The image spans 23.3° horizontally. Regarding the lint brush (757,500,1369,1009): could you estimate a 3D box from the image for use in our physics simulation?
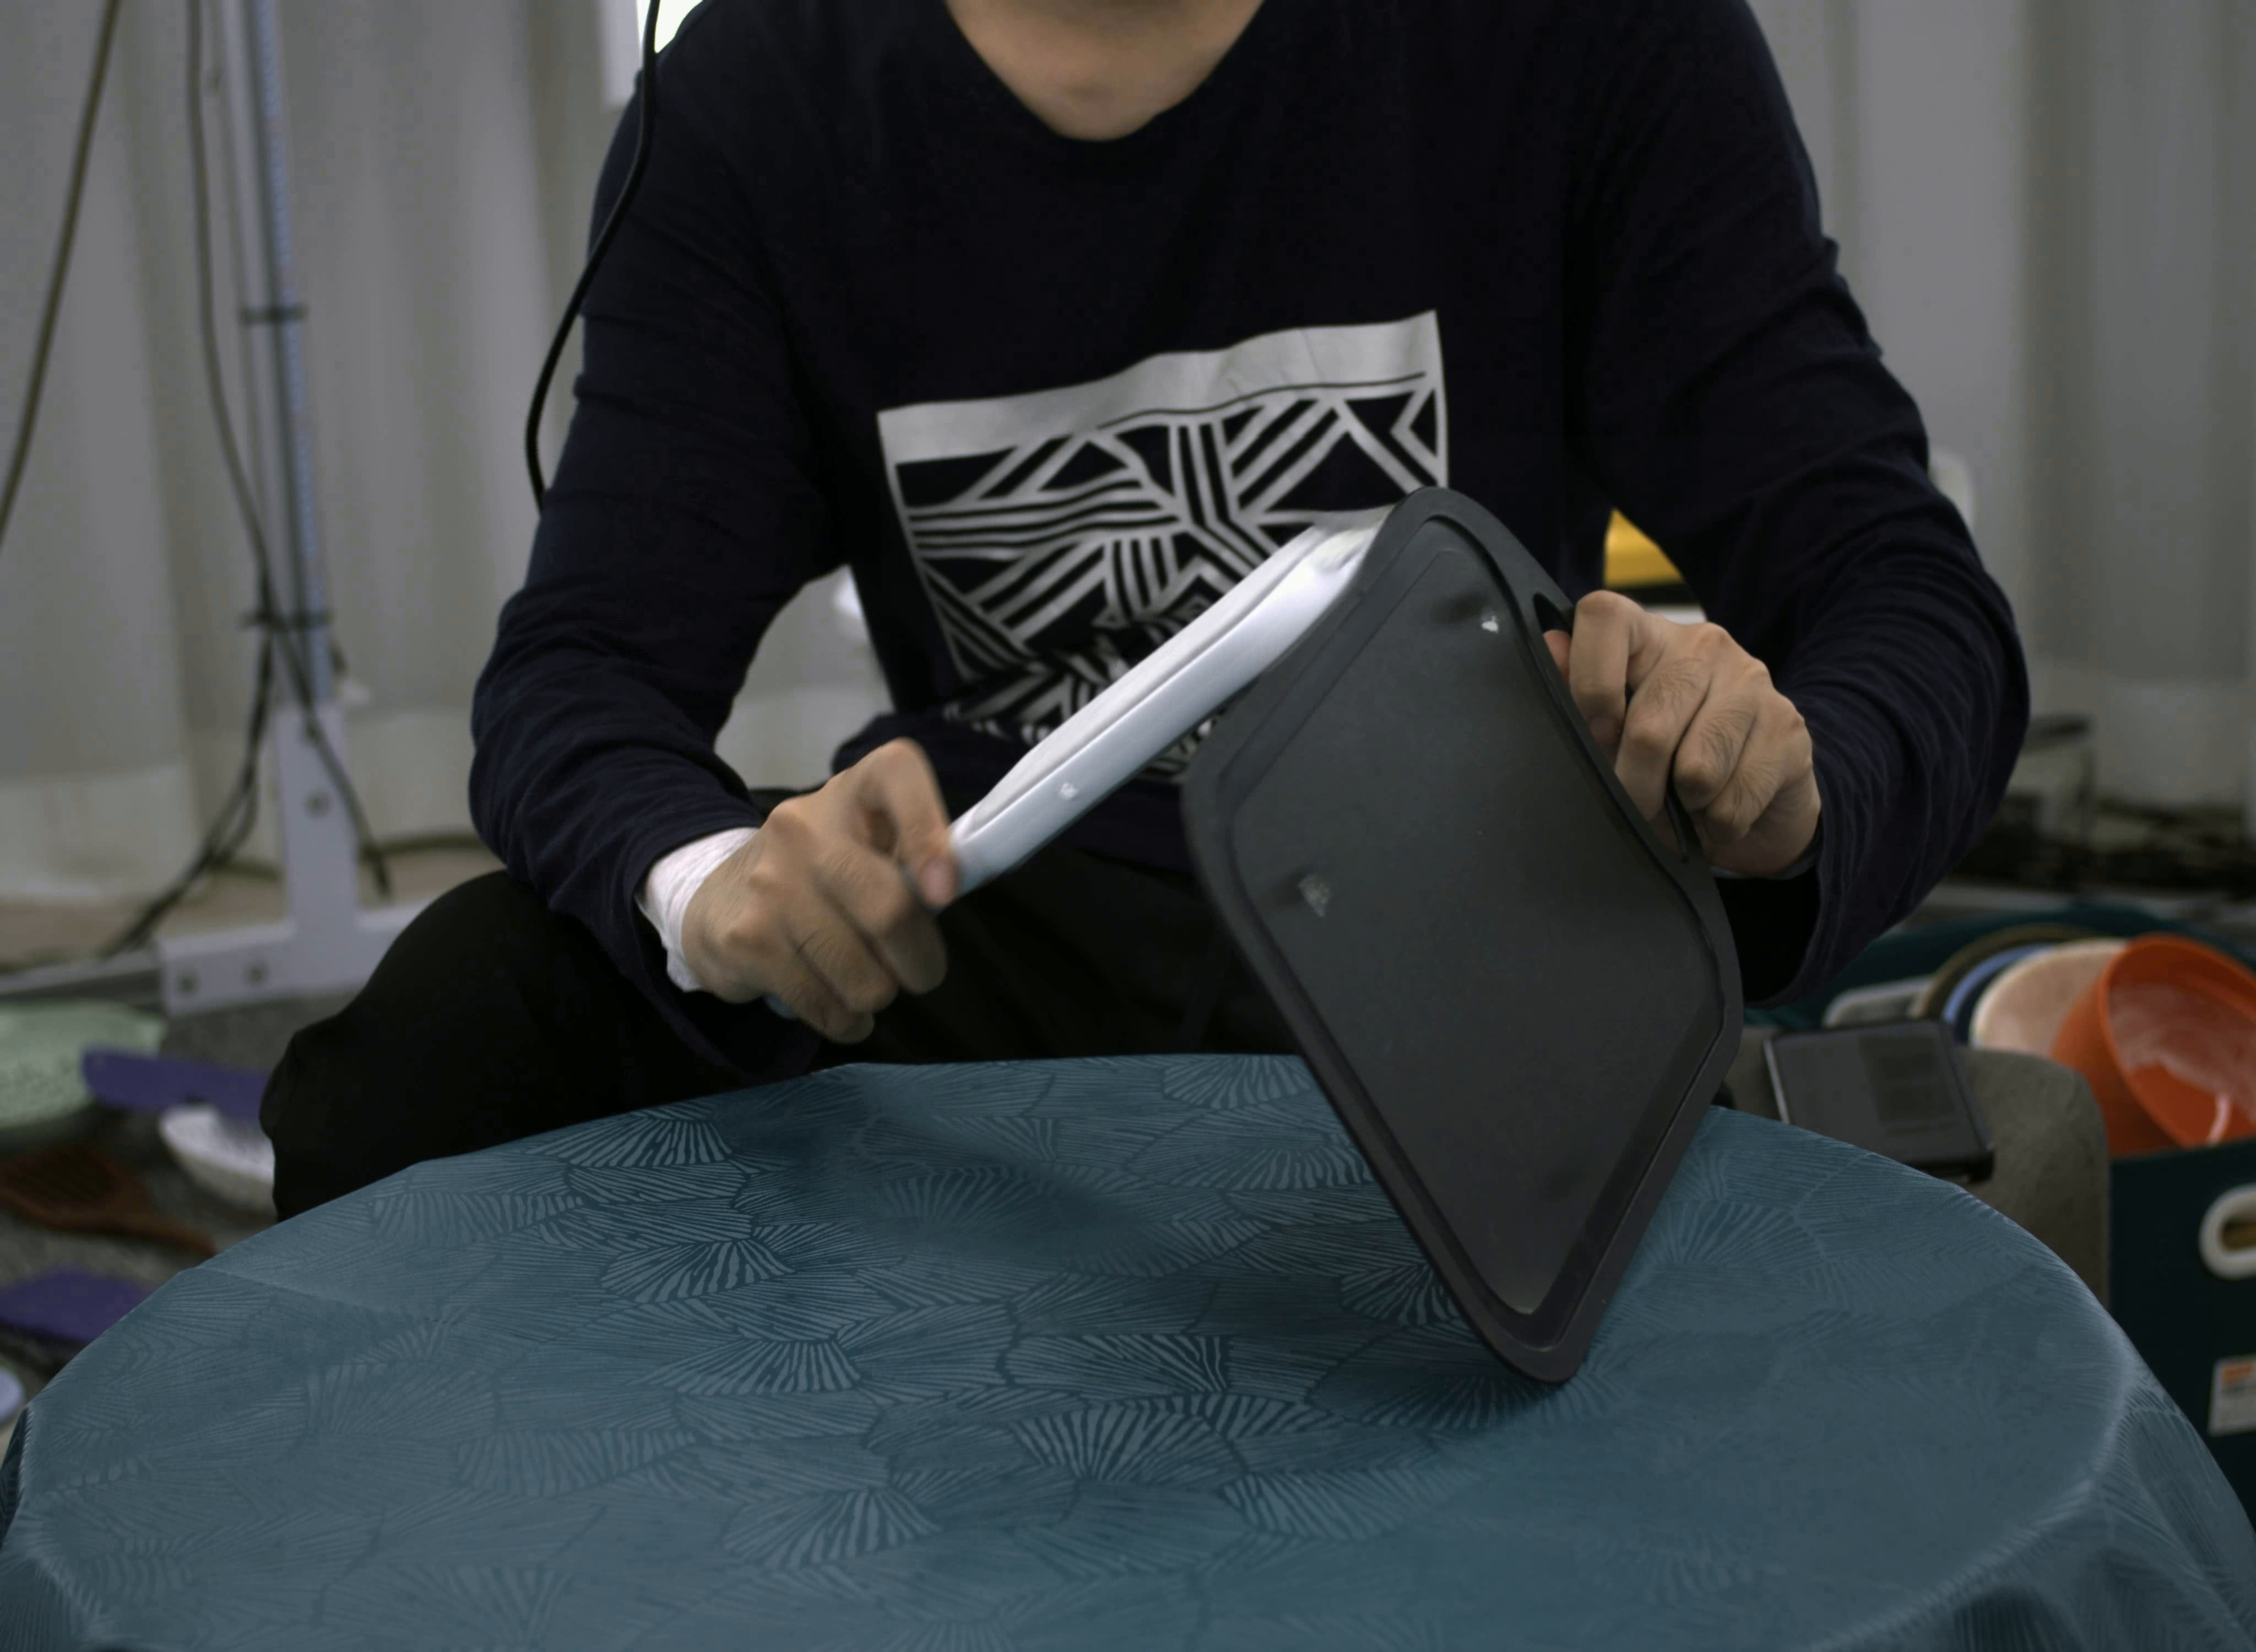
[{"bbox_3d":[-0.025,-0.016,1.668,0.307,0.021,0.060,-37,15,43],"label":"lint brush"}]

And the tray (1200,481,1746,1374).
[{"bbox_3d":[0.112,0.018,1.634,0.010,0.210,0.327,-26,10,27],"label":"tray"}]
